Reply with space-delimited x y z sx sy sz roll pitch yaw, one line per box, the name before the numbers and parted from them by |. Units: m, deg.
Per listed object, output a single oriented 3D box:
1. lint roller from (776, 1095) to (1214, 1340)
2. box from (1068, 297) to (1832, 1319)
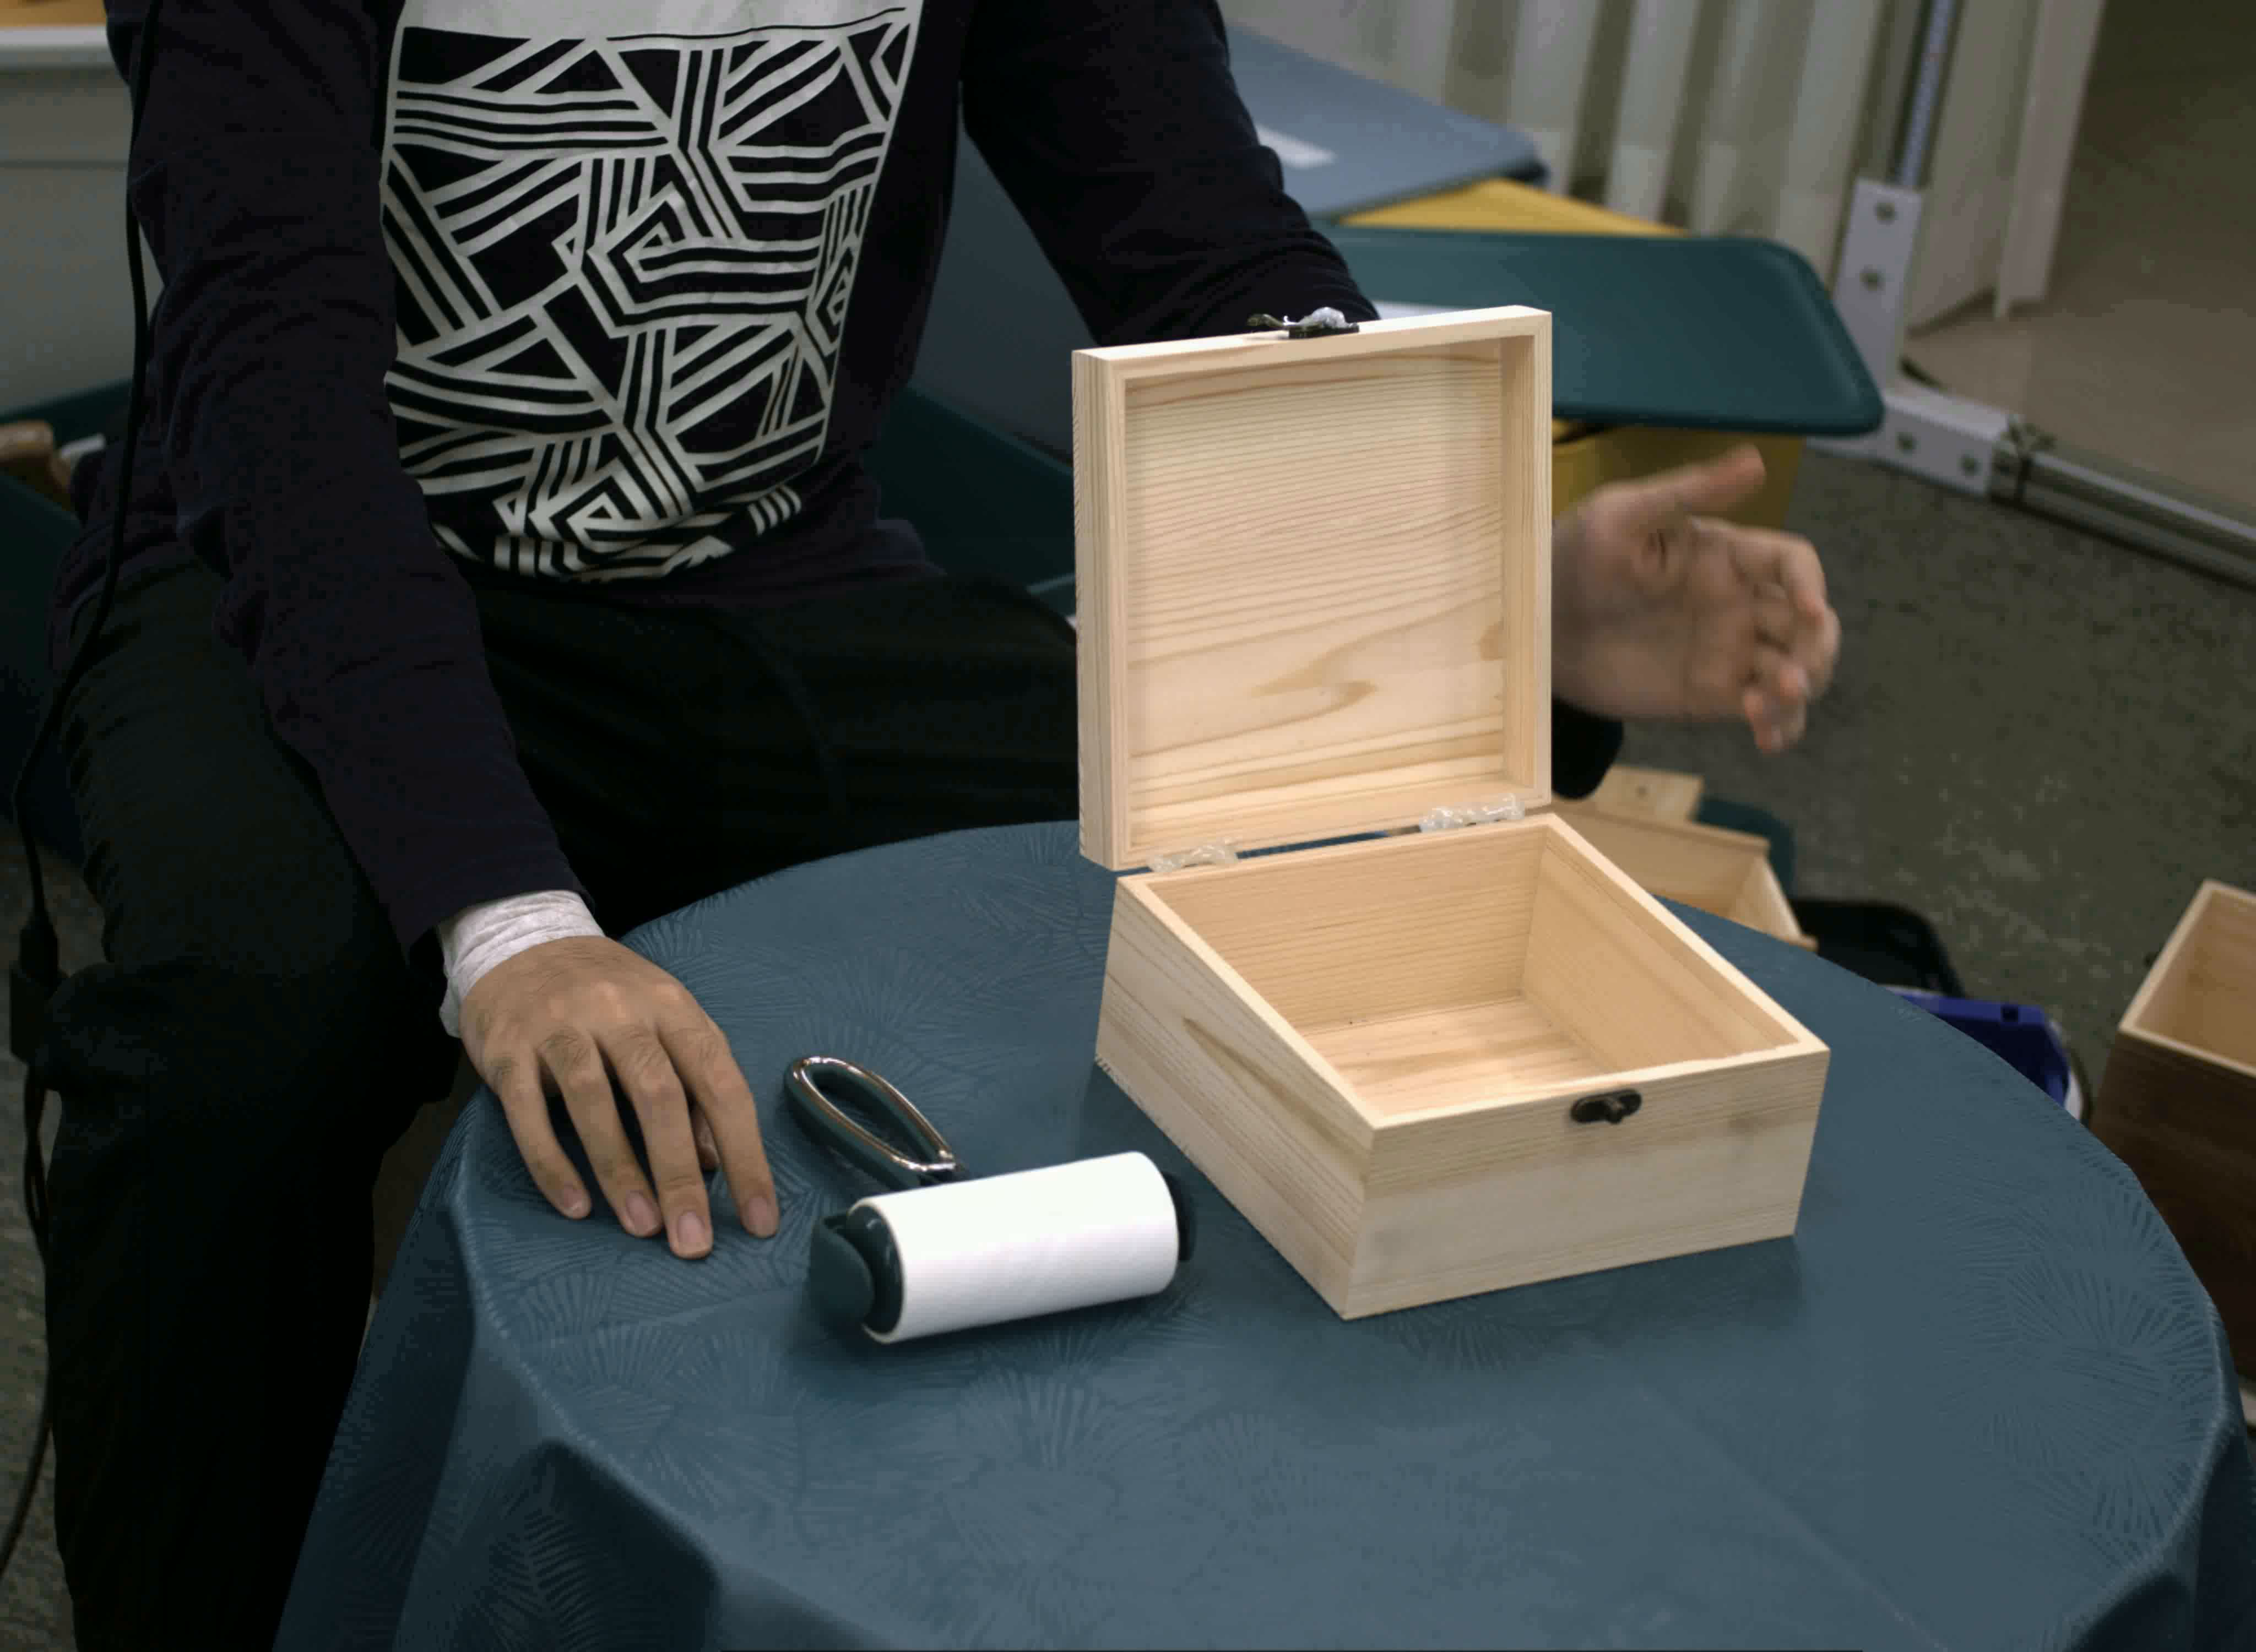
lint roller | -0.071 0.110 1.774 0.133 0.048 0.181 -8 26 -27
box | 0.107 -0.014 1.825 0.180 0.252 0.267 -9 31 -27
